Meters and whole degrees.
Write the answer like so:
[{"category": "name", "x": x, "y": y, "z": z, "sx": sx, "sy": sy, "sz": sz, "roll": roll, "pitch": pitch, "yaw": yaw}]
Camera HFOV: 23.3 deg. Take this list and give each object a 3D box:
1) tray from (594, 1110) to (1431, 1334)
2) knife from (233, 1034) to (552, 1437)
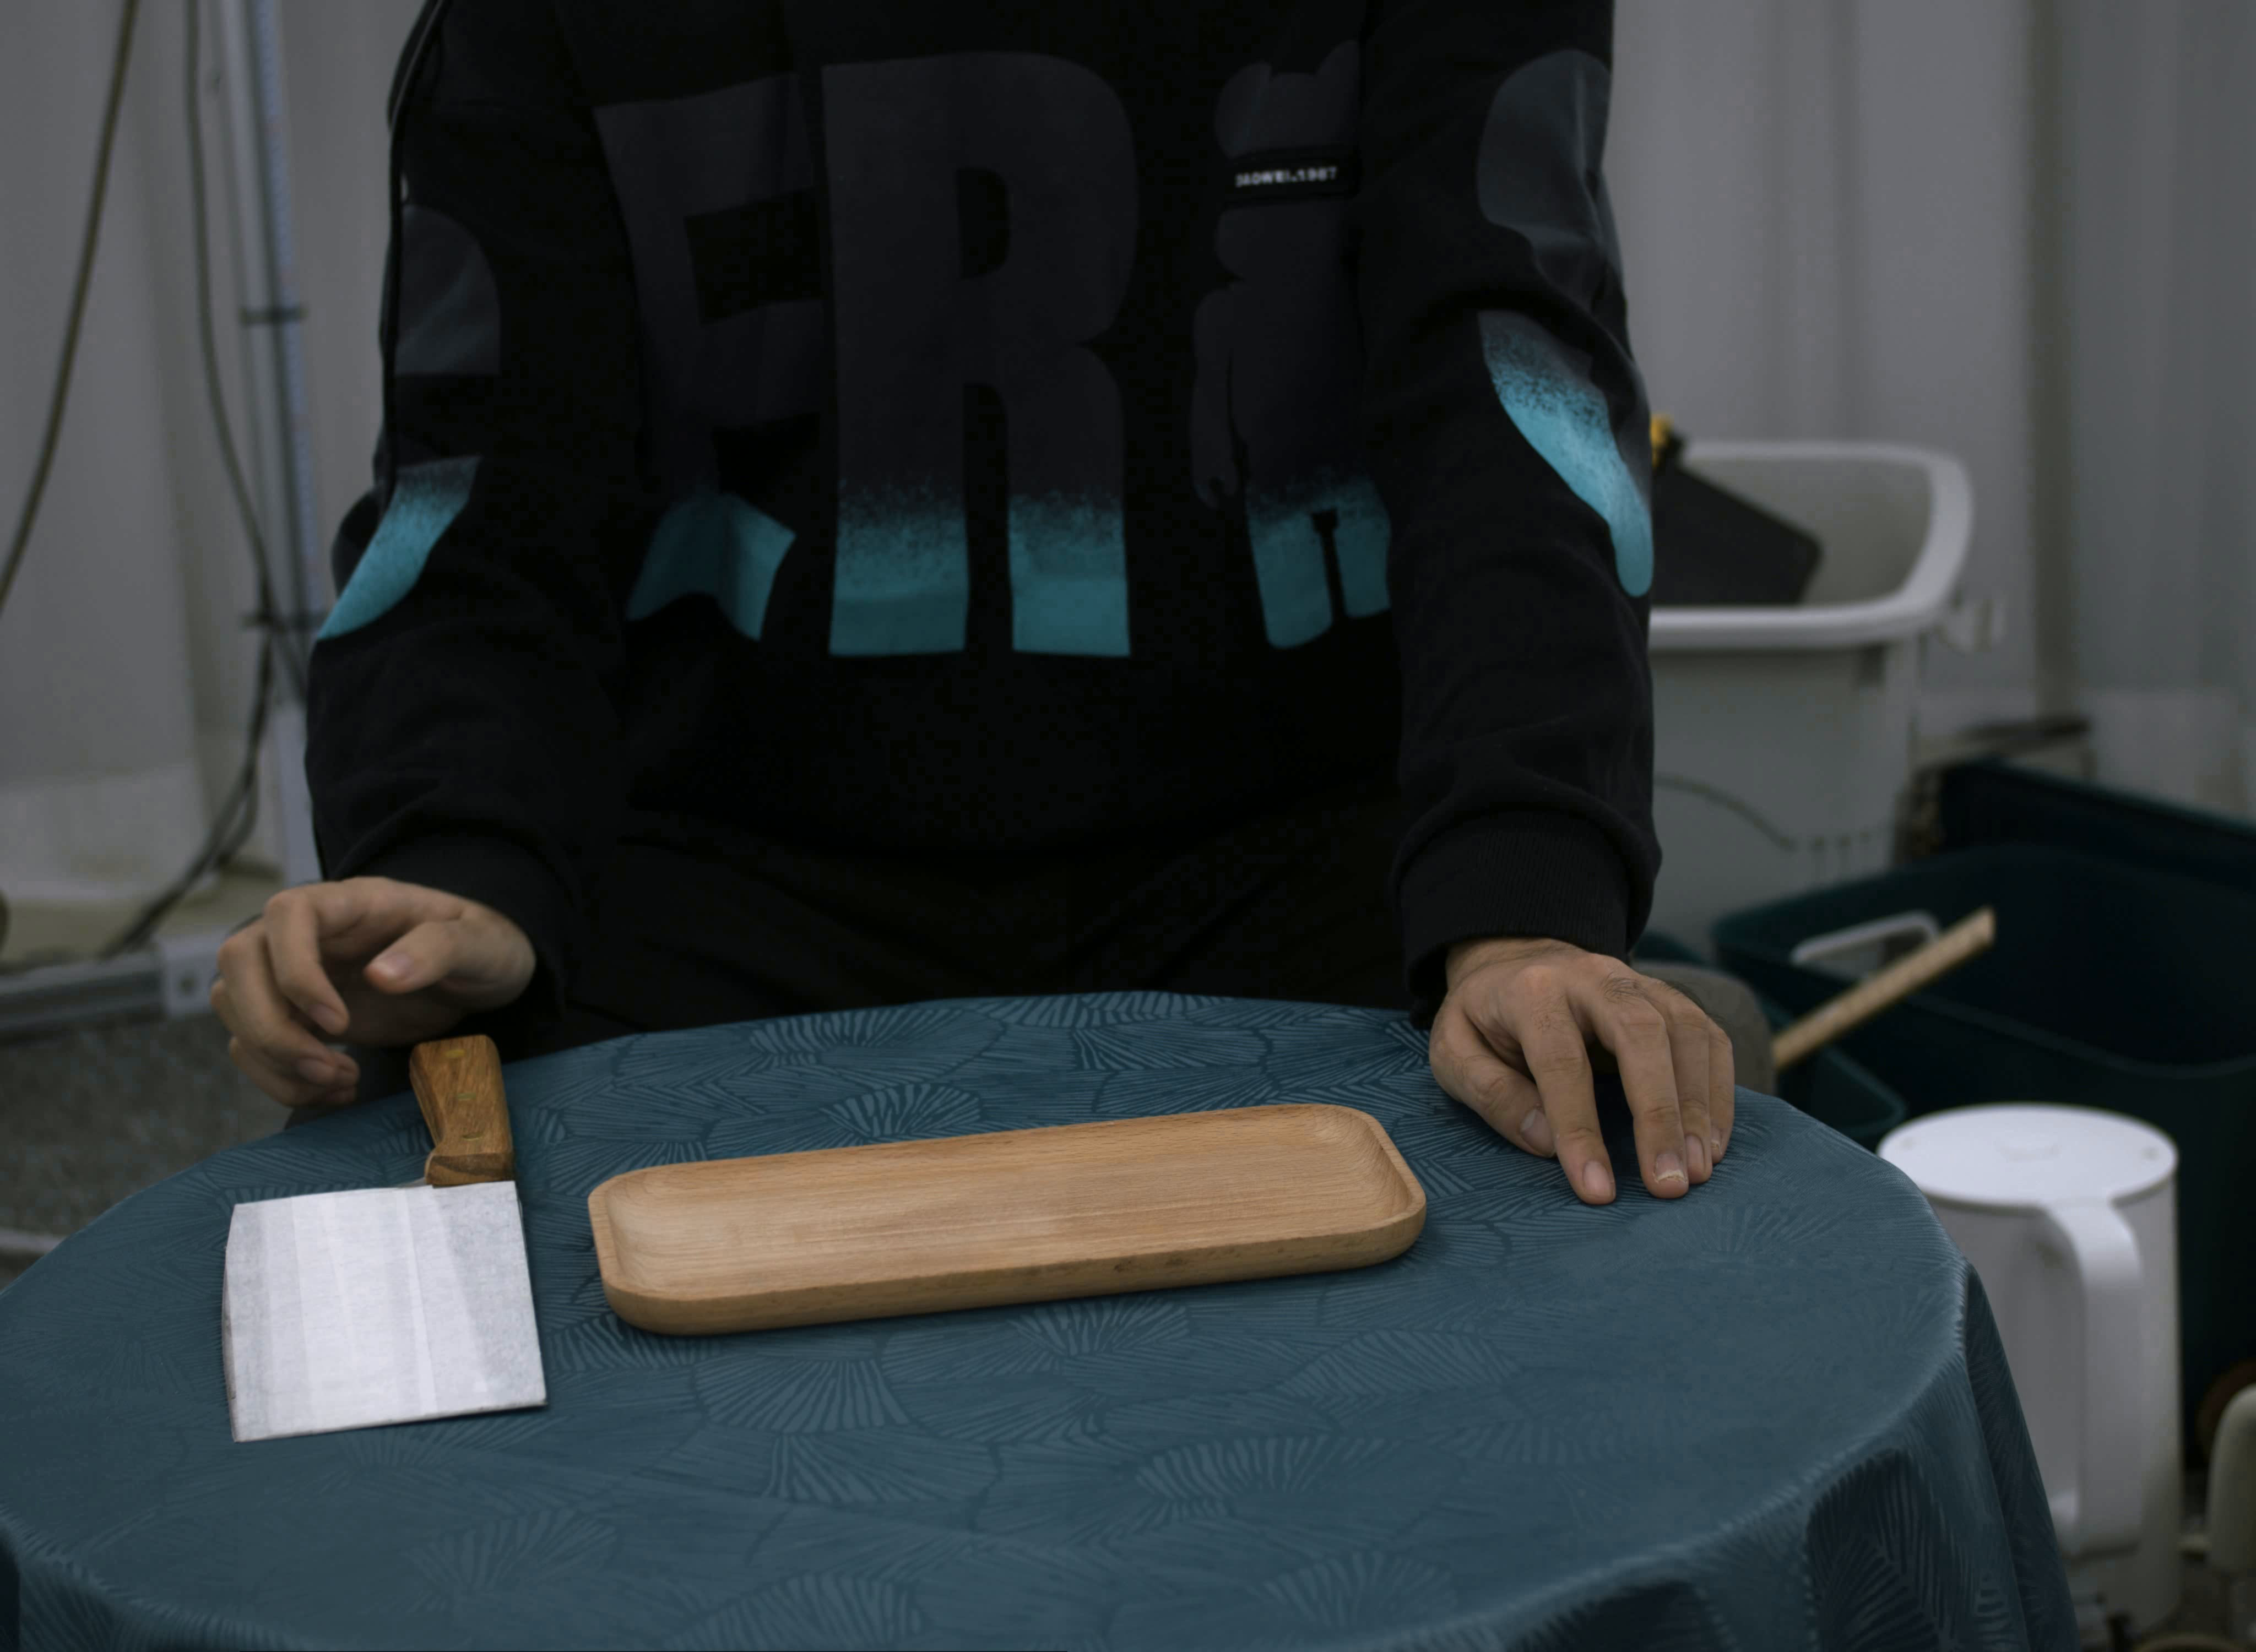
[{"category": "tray", "x": -0.037, "y": 0.121, "z": 1.672, "sx": 0.249, "sy": 0.023, "sz": 0.131, "roll": -4, "pitch": 17, "yaw": -6}, {"category": "knife", "x": -0.230, "y": 0.125, "z": 1.693, "sx": 0.092, "sy": 0.021, "sz": 0.308, "roll": -6, "pitch": 18, "yaw": -7}]
